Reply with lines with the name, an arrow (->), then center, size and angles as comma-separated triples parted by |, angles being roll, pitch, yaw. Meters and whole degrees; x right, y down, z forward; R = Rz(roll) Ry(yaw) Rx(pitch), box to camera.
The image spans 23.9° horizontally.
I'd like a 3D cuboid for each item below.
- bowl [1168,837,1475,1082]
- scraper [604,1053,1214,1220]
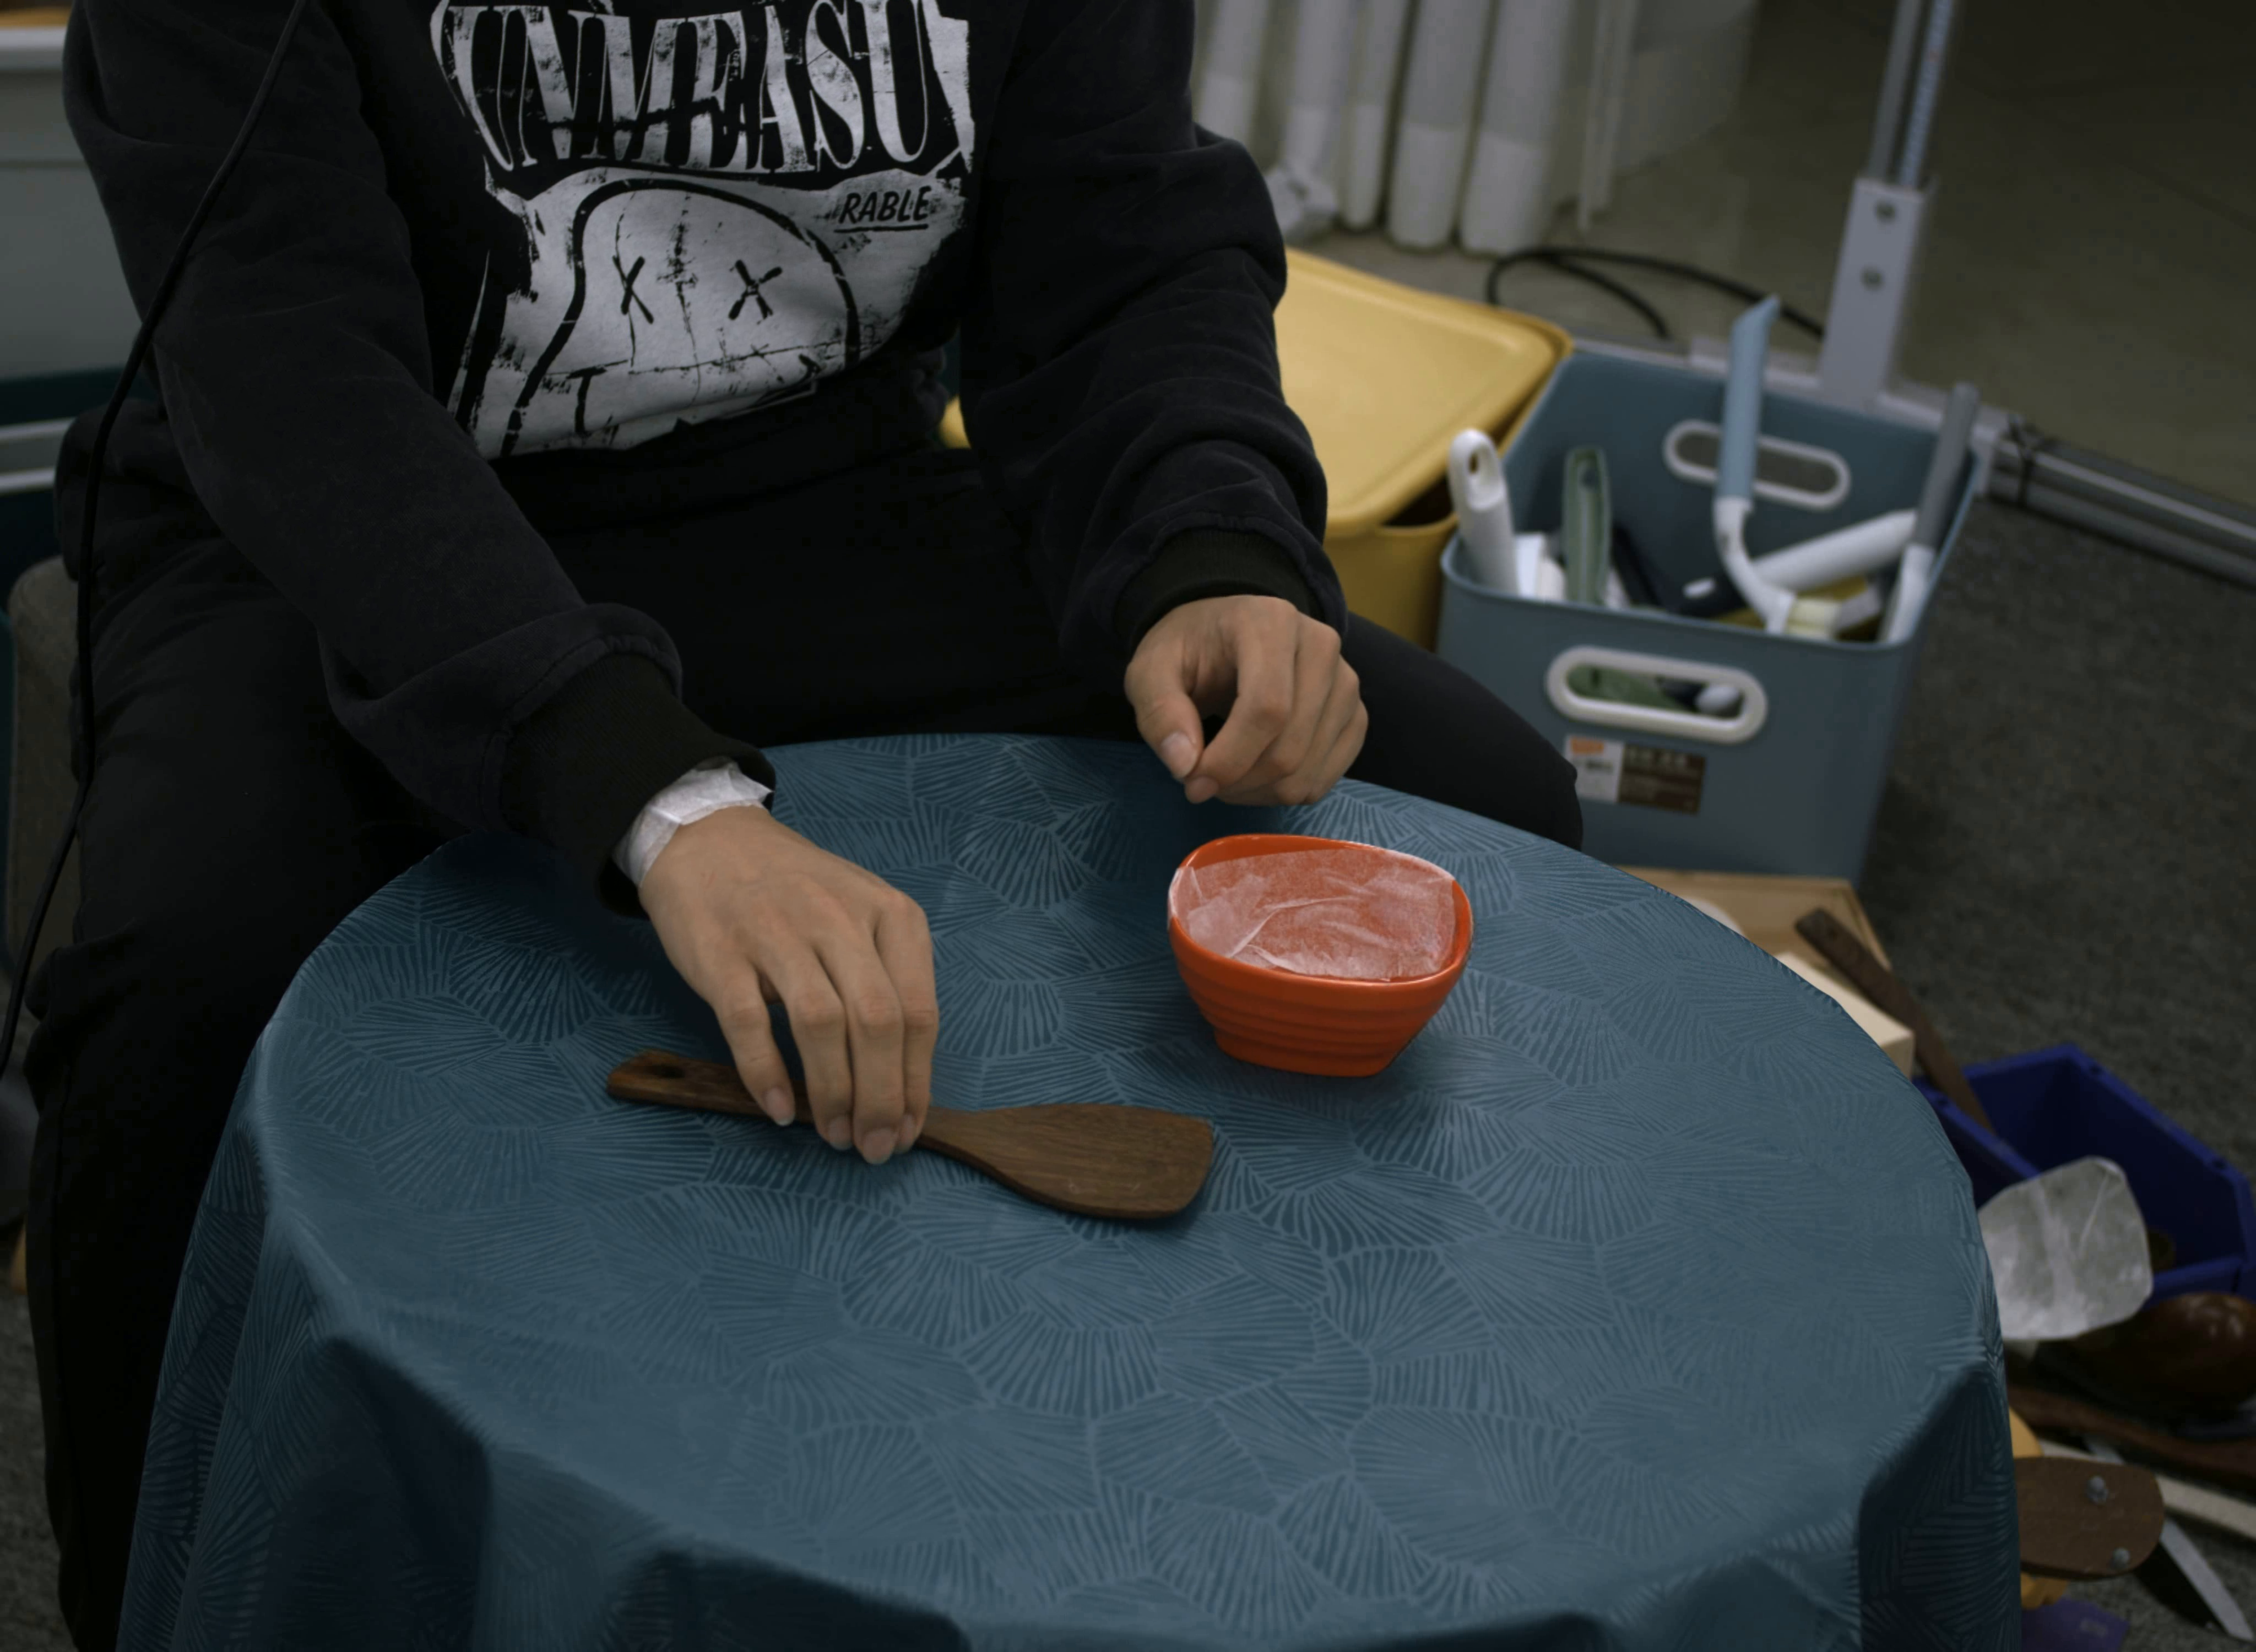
bowl -> 0.066, 0.052, 1.903 | 0.118, 0.051, 0.119 | 5, 28, -3
scraper -> -0.075, 0.102, 1.817 | 0.211, 0.011, 0.076 | 10, 25, 6
